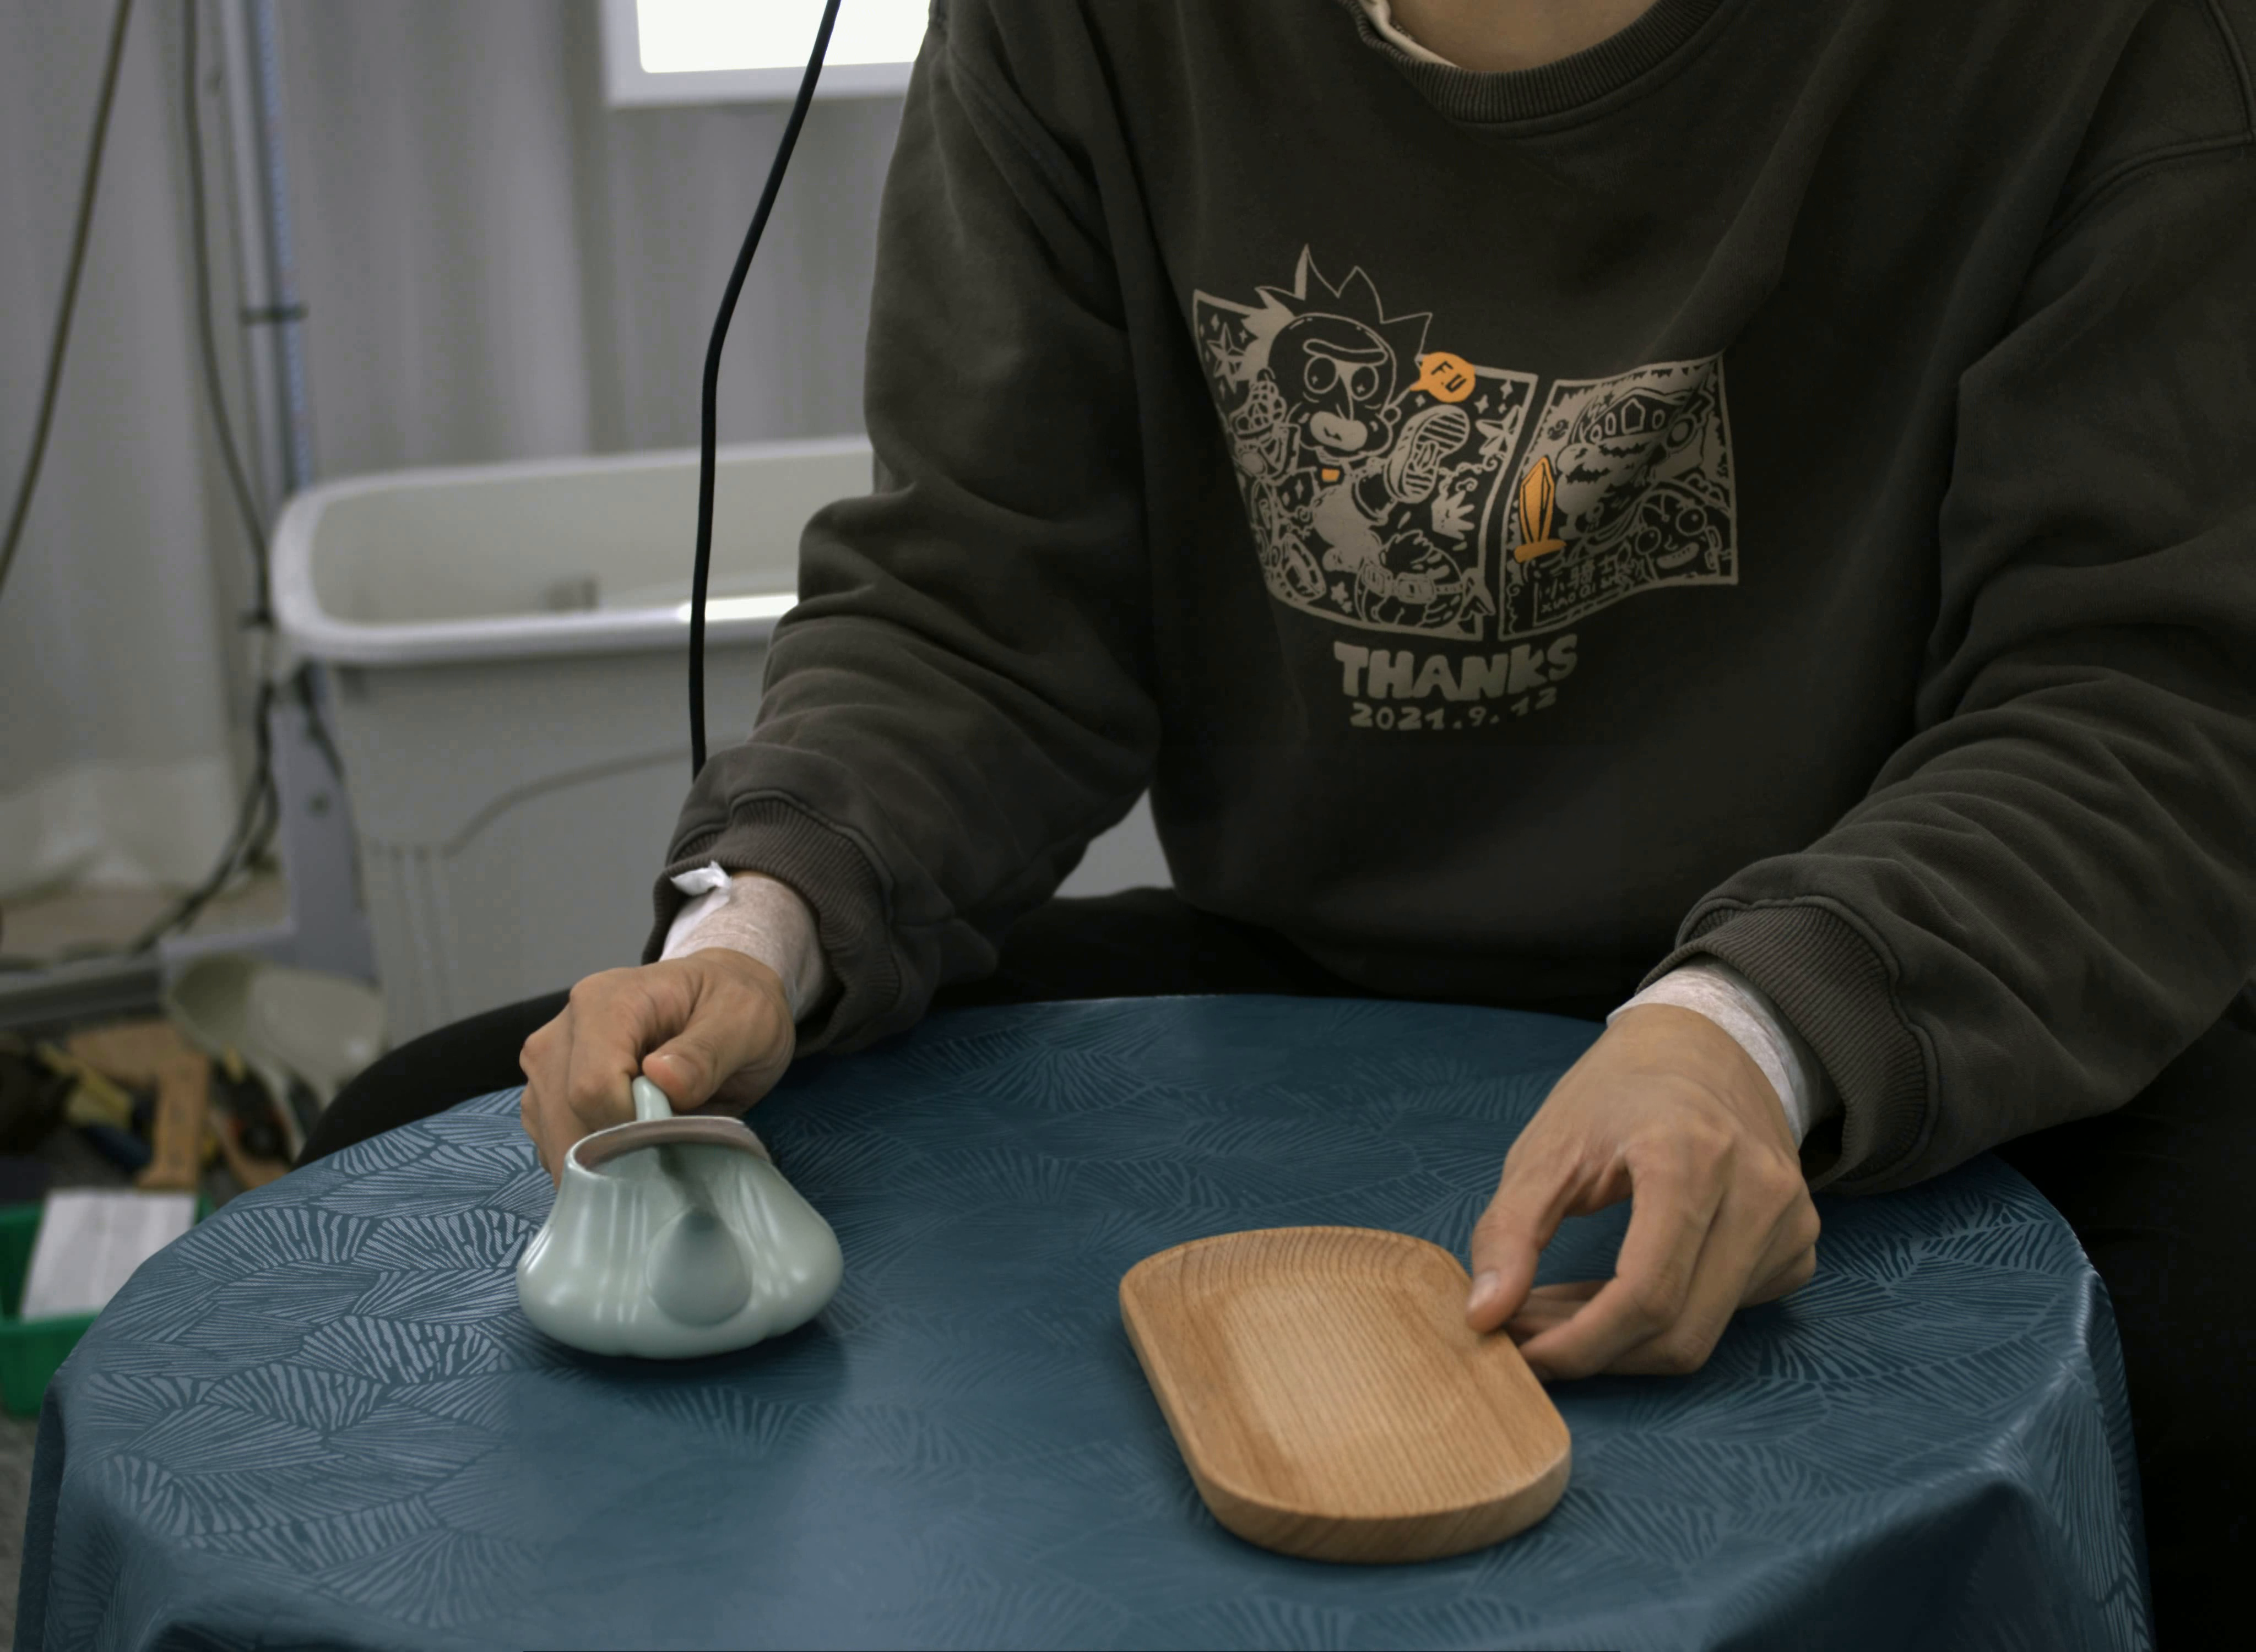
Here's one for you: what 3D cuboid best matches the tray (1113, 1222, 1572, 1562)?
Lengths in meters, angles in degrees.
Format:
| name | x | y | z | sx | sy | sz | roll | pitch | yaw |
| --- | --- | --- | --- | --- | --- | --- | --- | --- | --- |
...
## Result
| name | x | y | z | sx | sy | sz | roll | pitch | yaw |
| --- | --- | --- | --- | --- | --- | --- | --- | --- | --- |
| tray | 0.057 | 0.155 | 1.527 | 0.101 | 0.020 | 0.233 | -5 | 14 | -9 |

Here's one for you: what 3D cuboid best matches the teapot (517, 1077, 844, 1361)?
| name | x | y | z | sx | sy | sz | roll | pitch | yaw |
| --- | --- | --- | --- | --- | --- | --- | --- | --- | --- |
| teapot | -0.134 | 0.119 | 1.616 | 0.096 | 0.061 | 0.138 | -8 | 17 | -15 |
